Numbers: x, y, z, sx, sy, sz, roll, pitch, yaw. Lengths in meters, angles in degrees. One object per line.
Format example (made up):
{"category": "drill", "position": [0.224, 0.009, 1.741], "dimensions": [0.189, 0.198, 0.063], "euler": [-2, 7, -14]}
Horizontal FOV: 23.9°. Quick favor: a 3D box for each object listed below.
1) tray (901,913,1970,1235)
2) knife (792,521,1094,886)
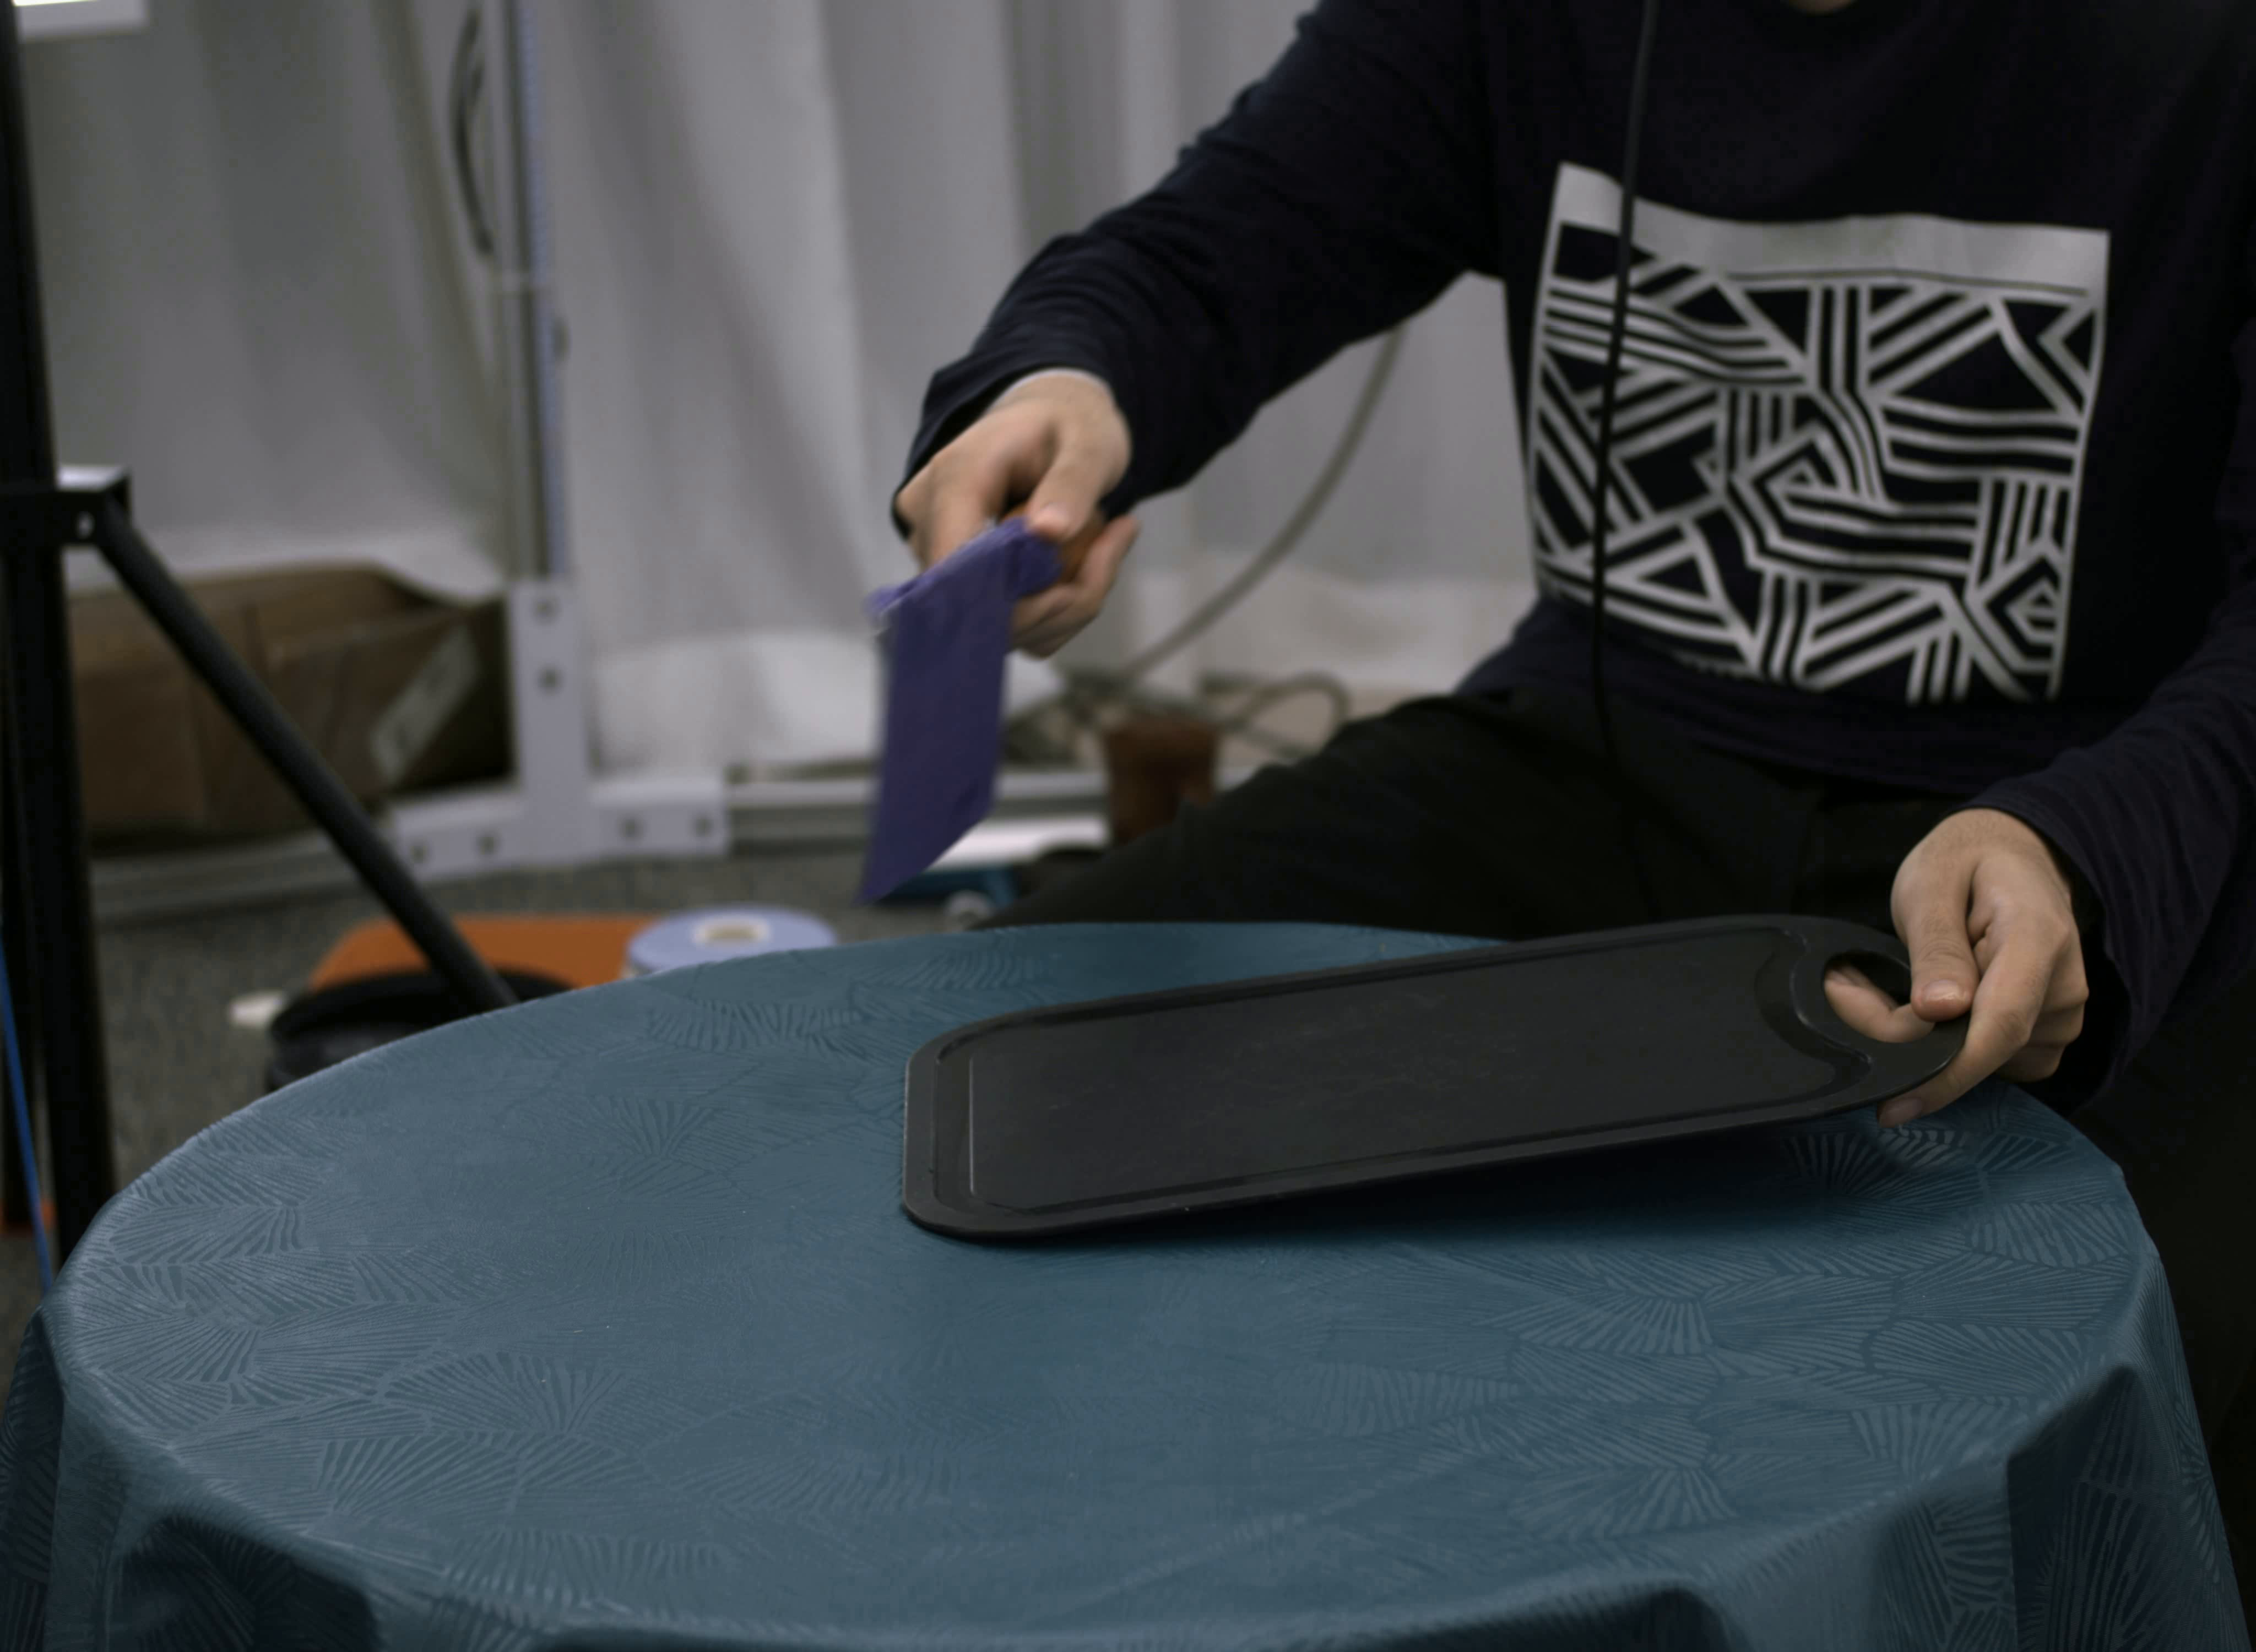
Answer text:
{"category": "tray", "position": [0.092, 0.070, 1.610], "dimensions": [0.324, 0.010, 0.212], "euler": [-8, 15, 2]}
{"category": "knife", "position": [-0.060, -0.040, 1.657], "dimensions": [0.032, 0.104, 0.312], "euler": [11, 9, 10]}
